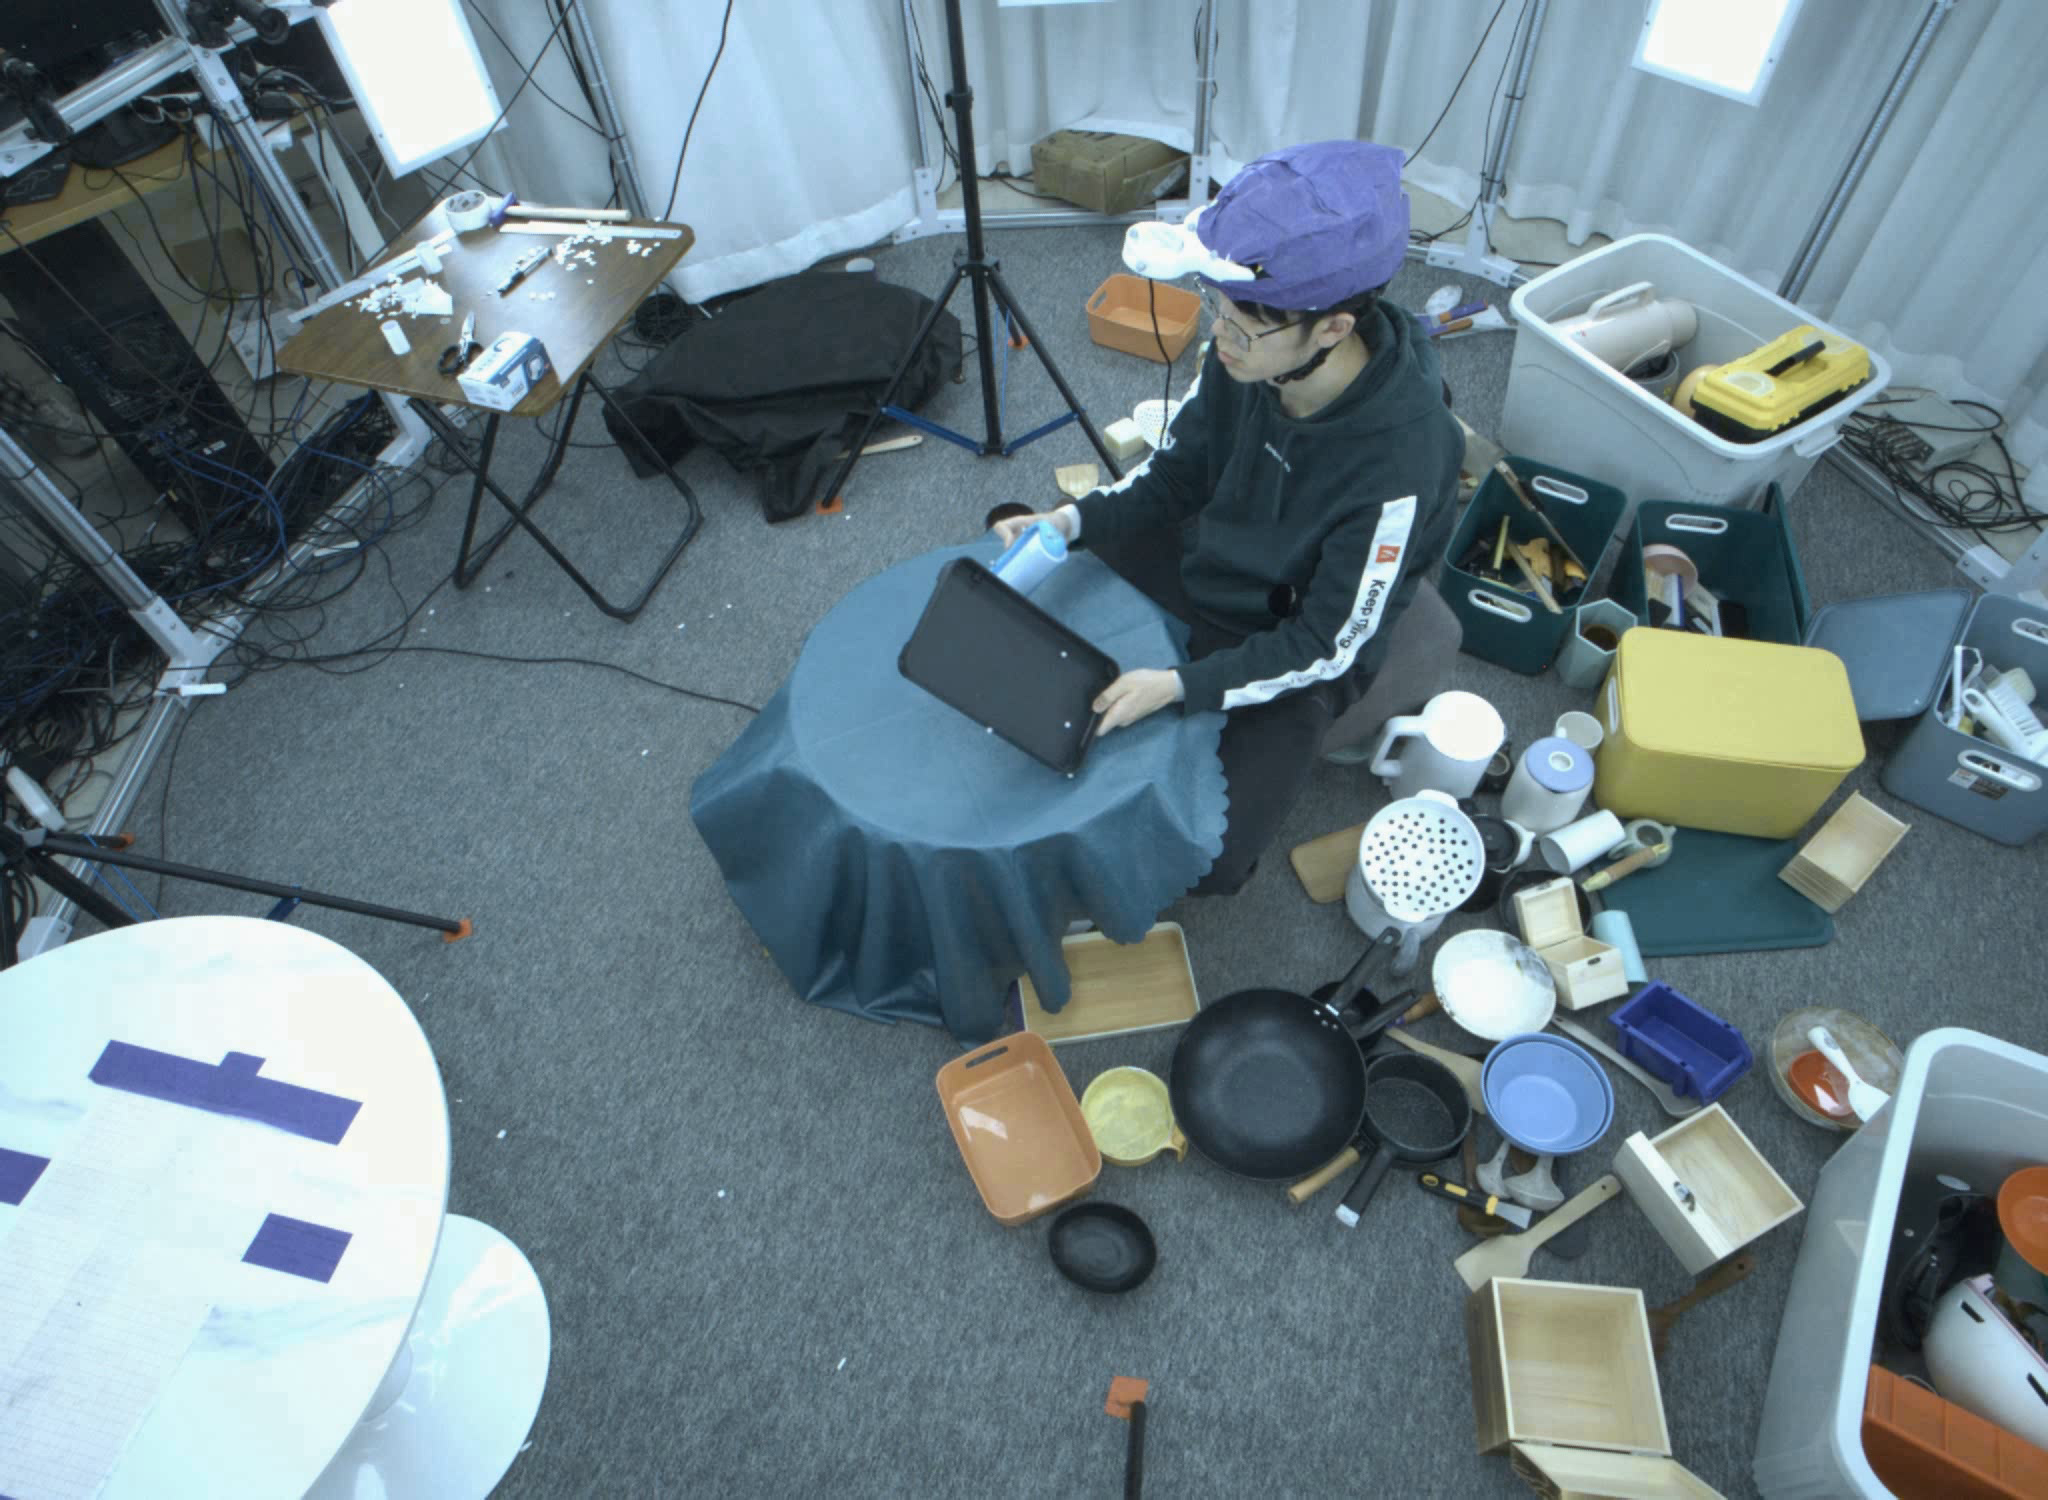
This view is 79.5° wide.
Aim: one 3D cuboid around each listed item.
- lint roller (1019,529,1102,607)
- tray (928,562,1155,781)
[{"bbox_3d":[0.048,-0.266,1.805,0.068,0.227,0.180,39,41,-13],"label":"lint roller"},{"bbox_3d":[0.030,-0.102,1.681,0.036,0.325,0.184,4,67,57],"label":"tray"}]
